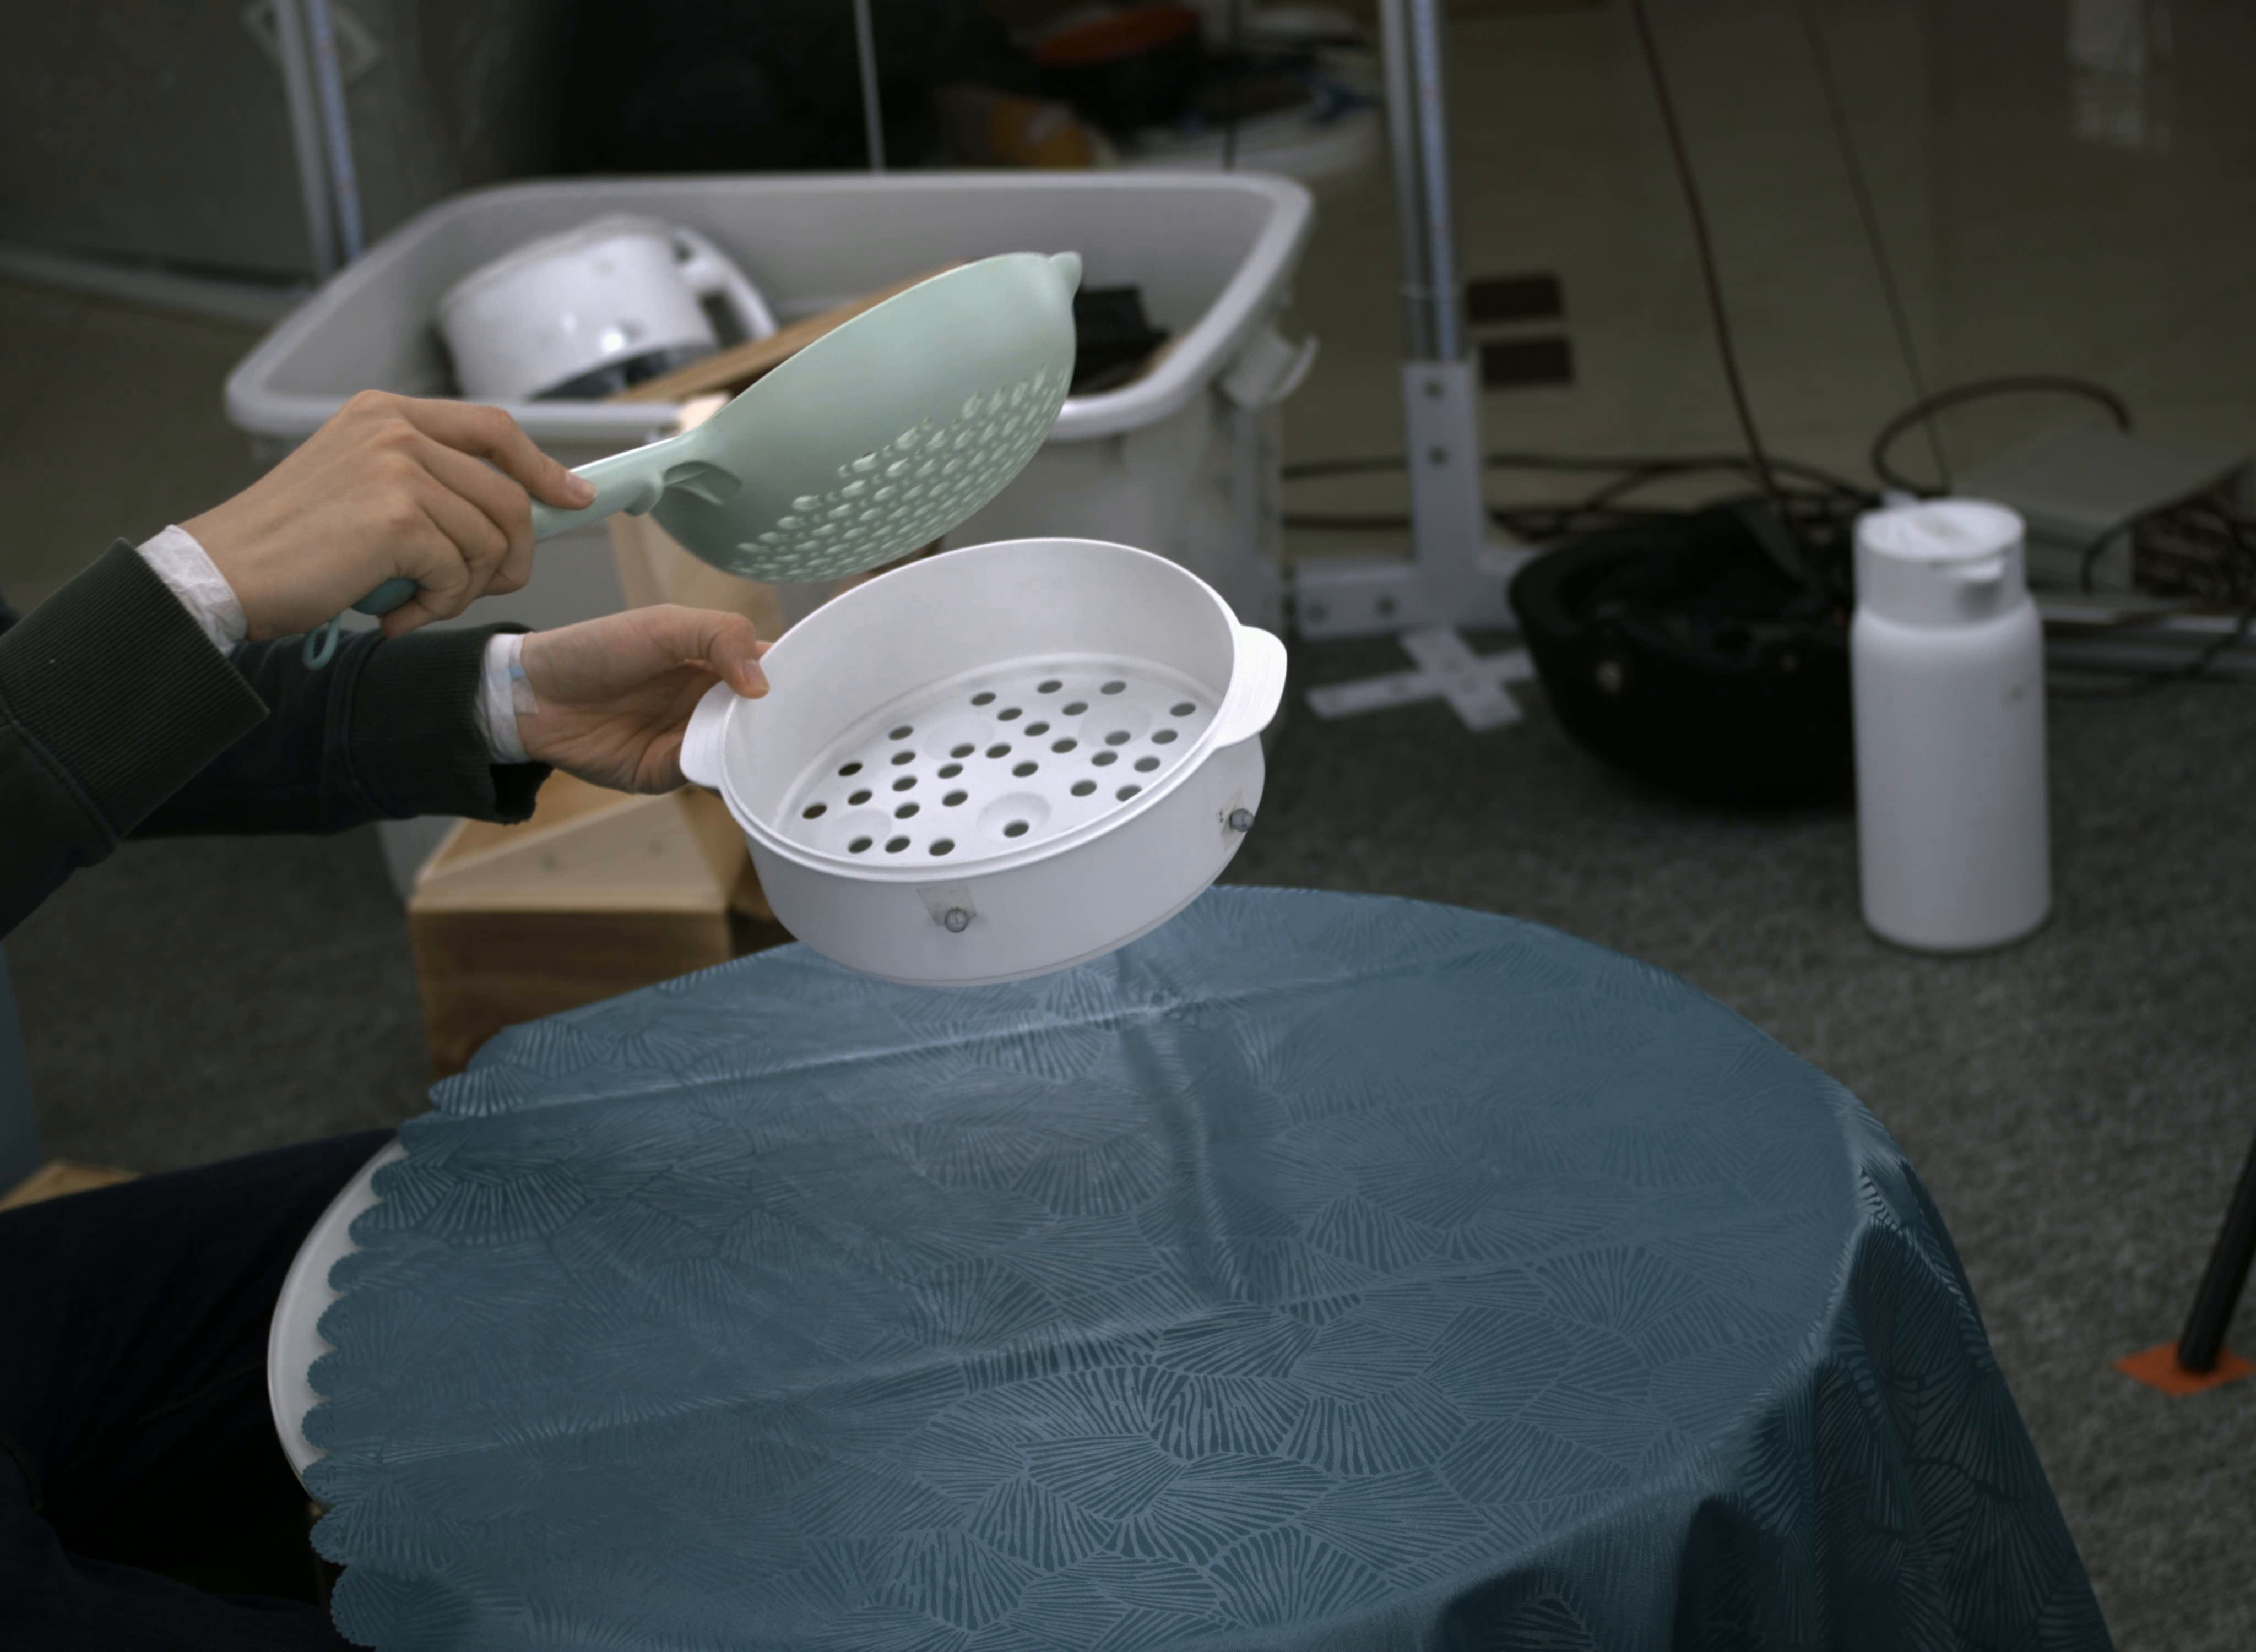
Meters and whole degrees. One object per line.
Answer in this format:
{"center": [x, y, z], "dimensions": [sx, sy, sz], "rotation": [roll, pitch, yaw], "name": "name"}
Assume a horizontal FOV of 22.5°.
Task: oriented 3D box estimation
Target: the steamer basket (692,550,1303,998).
{"center": [-0.043, -0.020, 2.097], "dimensions": [0.230, 0.070, 0.198], "rotation": [-5, 38, 13], "name": "steamer basket"}

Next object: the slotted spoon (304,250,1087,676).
{"center": [-0.149, -0.114, 1.929], "dimensions": [0.357, 0.075, 0.171], "rotation": [-14, -19, -43], "name": "slotted spoon"}
